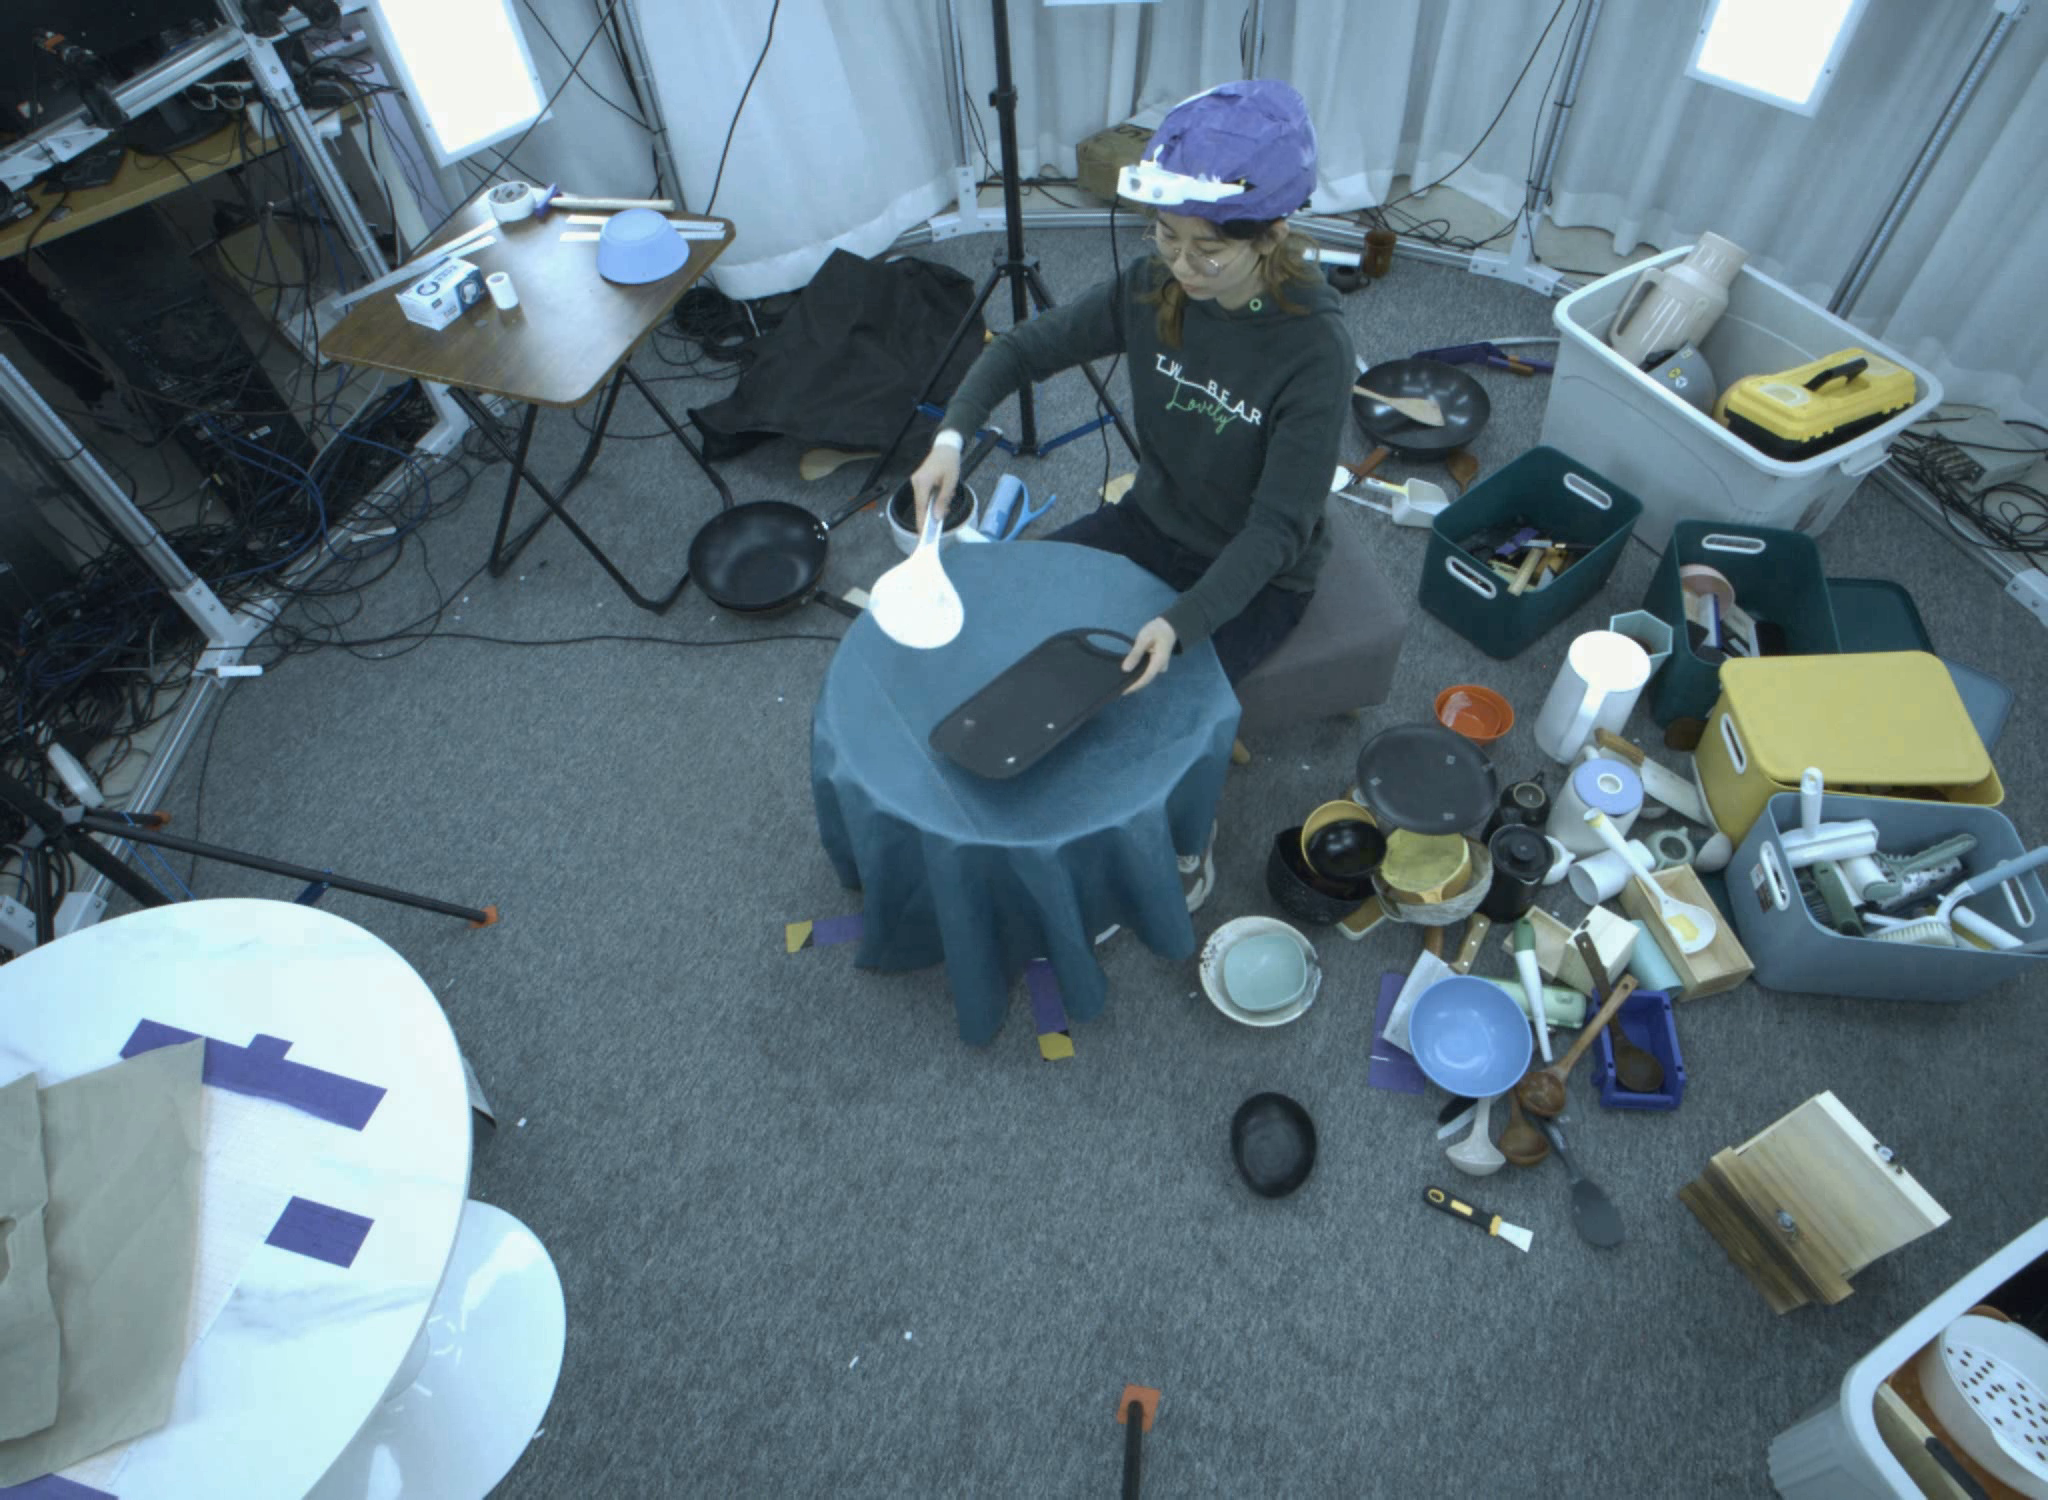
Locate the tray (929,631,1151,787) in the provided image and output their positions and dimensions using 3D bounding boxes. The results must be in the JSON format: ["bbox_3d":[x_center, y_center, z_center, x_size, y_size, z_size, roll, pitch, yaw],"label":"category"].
[{"bbox_3d":[0.027,-0.071,1.758,0.327,0.010,0.206,-39,41,-21],"label":"tray"}]

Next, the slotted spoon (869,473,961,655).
[{"bbox_3d":[-0.144,-0.282,1.812,0.137,0.045,0.347,17,63,-14],"label":"slotted spoon"}]
